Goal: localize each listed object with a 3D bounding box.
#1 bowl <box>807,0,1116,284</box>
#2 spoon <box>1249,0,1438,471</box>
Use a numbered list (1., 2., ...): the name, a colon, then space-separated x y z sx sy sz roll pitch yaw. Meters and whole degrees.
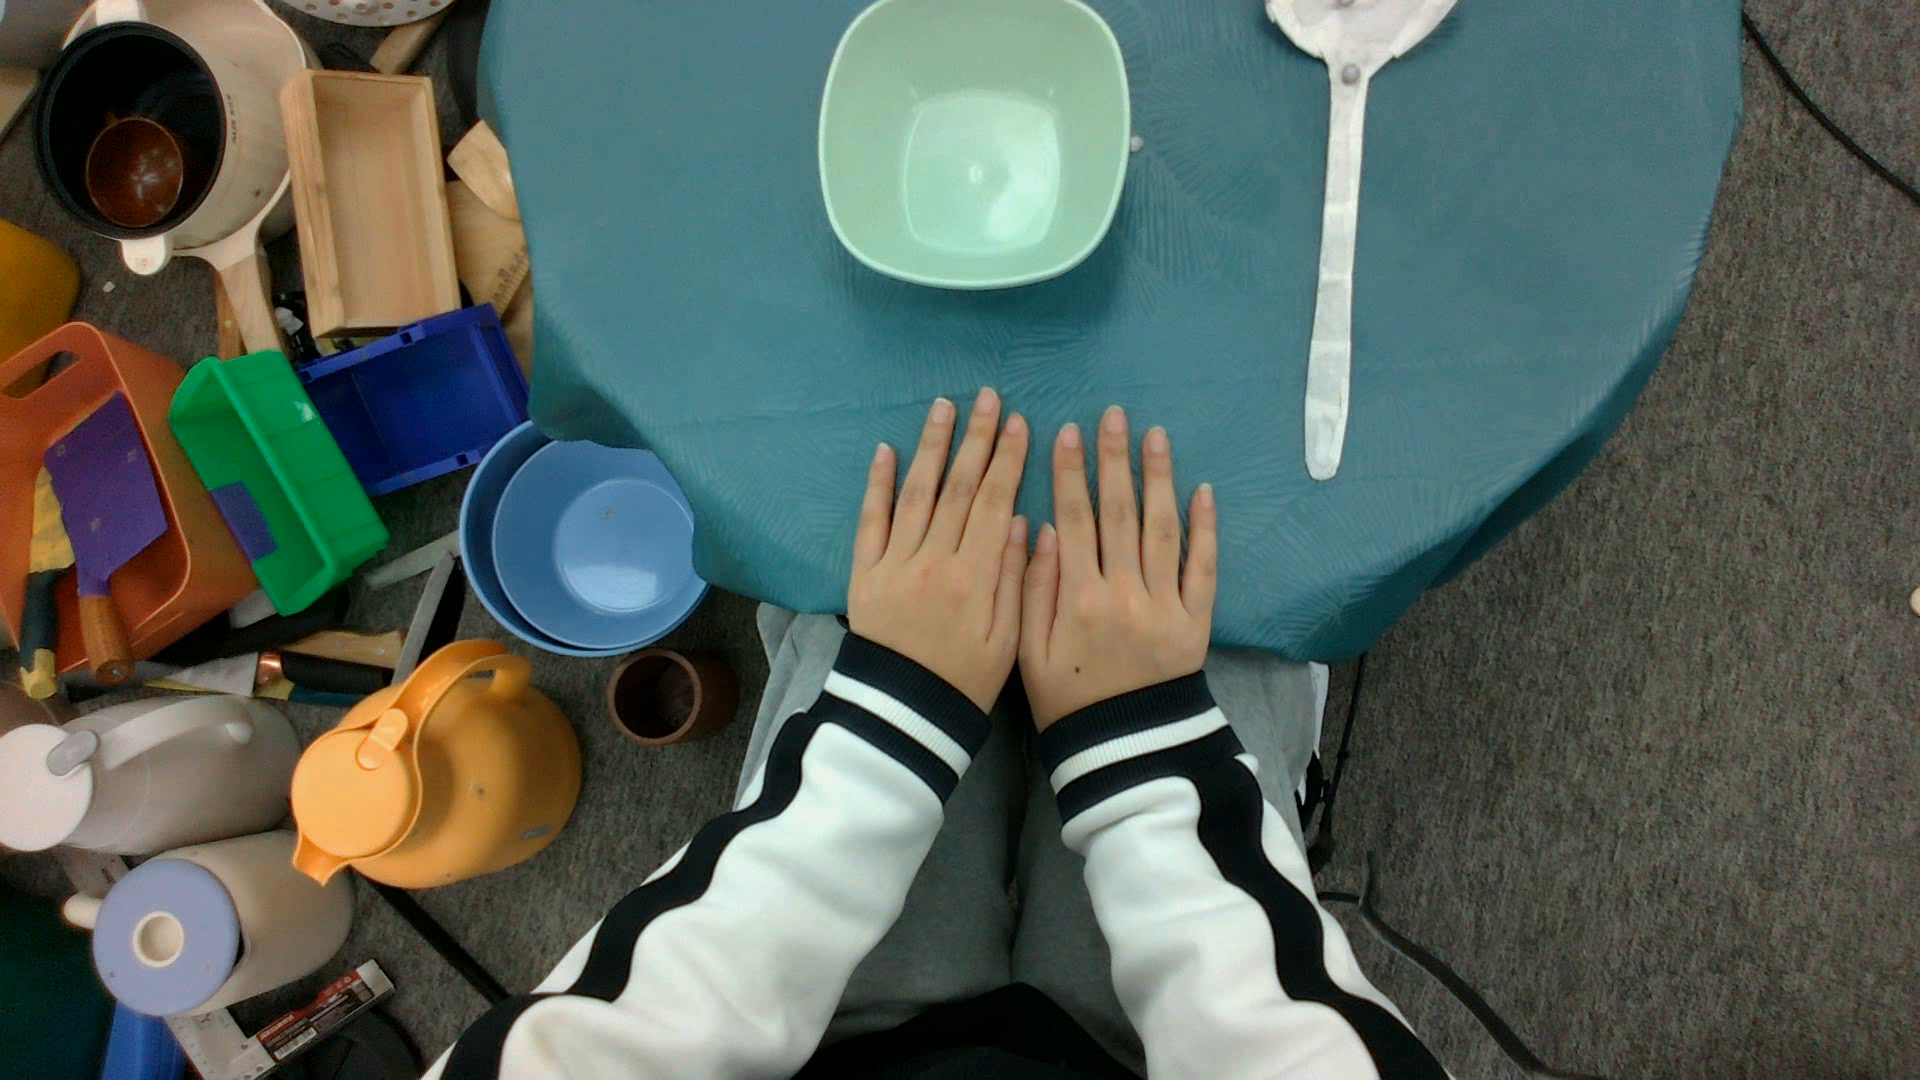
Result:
1. bowl: 0.003 -0.180 0.643 0.151 0.058 0.151 -1 84 5
2. spoon: 0.160 -0.172 0.626 0.100 0.059 0.277 7 85 11
